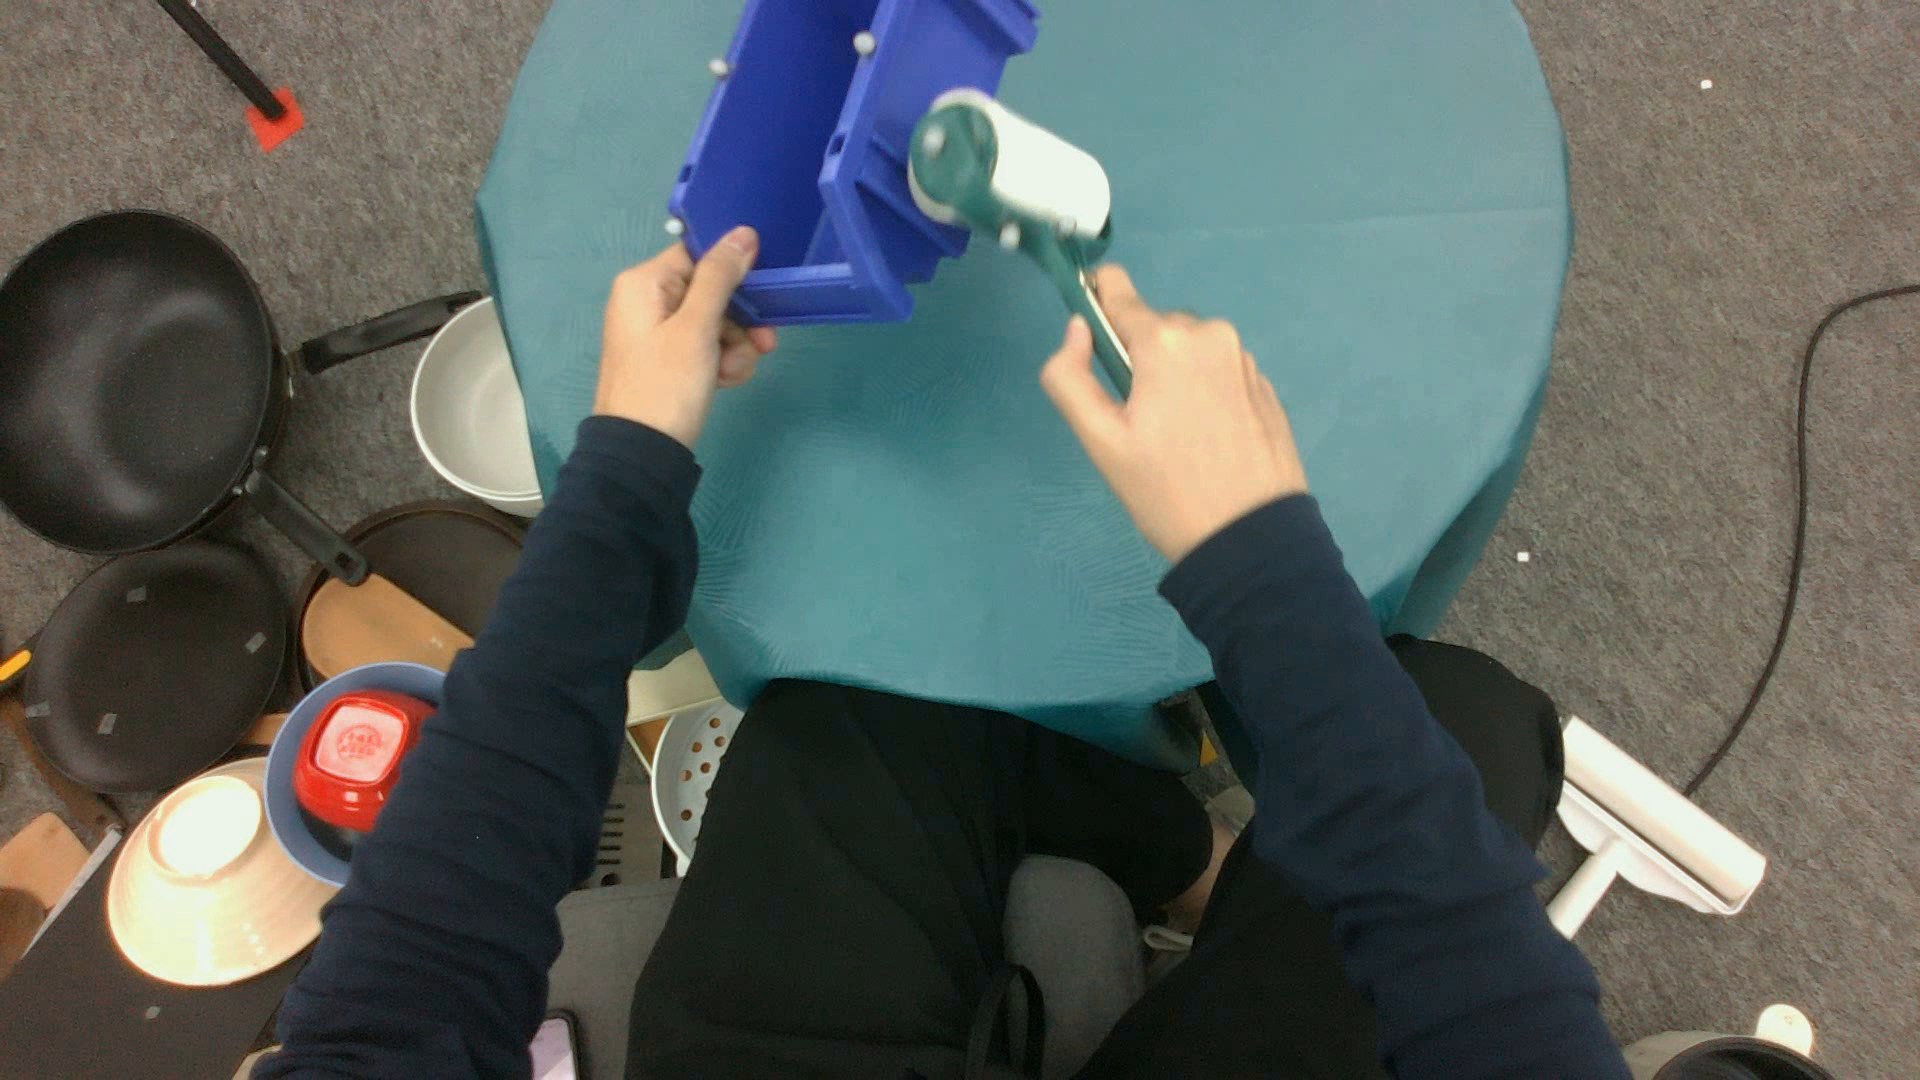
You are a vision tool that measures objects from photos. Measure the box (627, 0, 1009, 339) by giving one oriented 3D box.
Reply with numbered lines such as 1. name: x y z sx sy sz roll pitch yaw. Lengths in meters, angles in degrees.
1. box: -0.067 -0.187 0.645 0.124 0.082 0.180 10 73 37

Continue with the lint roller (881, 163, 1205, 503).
1. lint roller: 0.055 -0.095 0.597 0.180 0.135 0.048 50 124 21
